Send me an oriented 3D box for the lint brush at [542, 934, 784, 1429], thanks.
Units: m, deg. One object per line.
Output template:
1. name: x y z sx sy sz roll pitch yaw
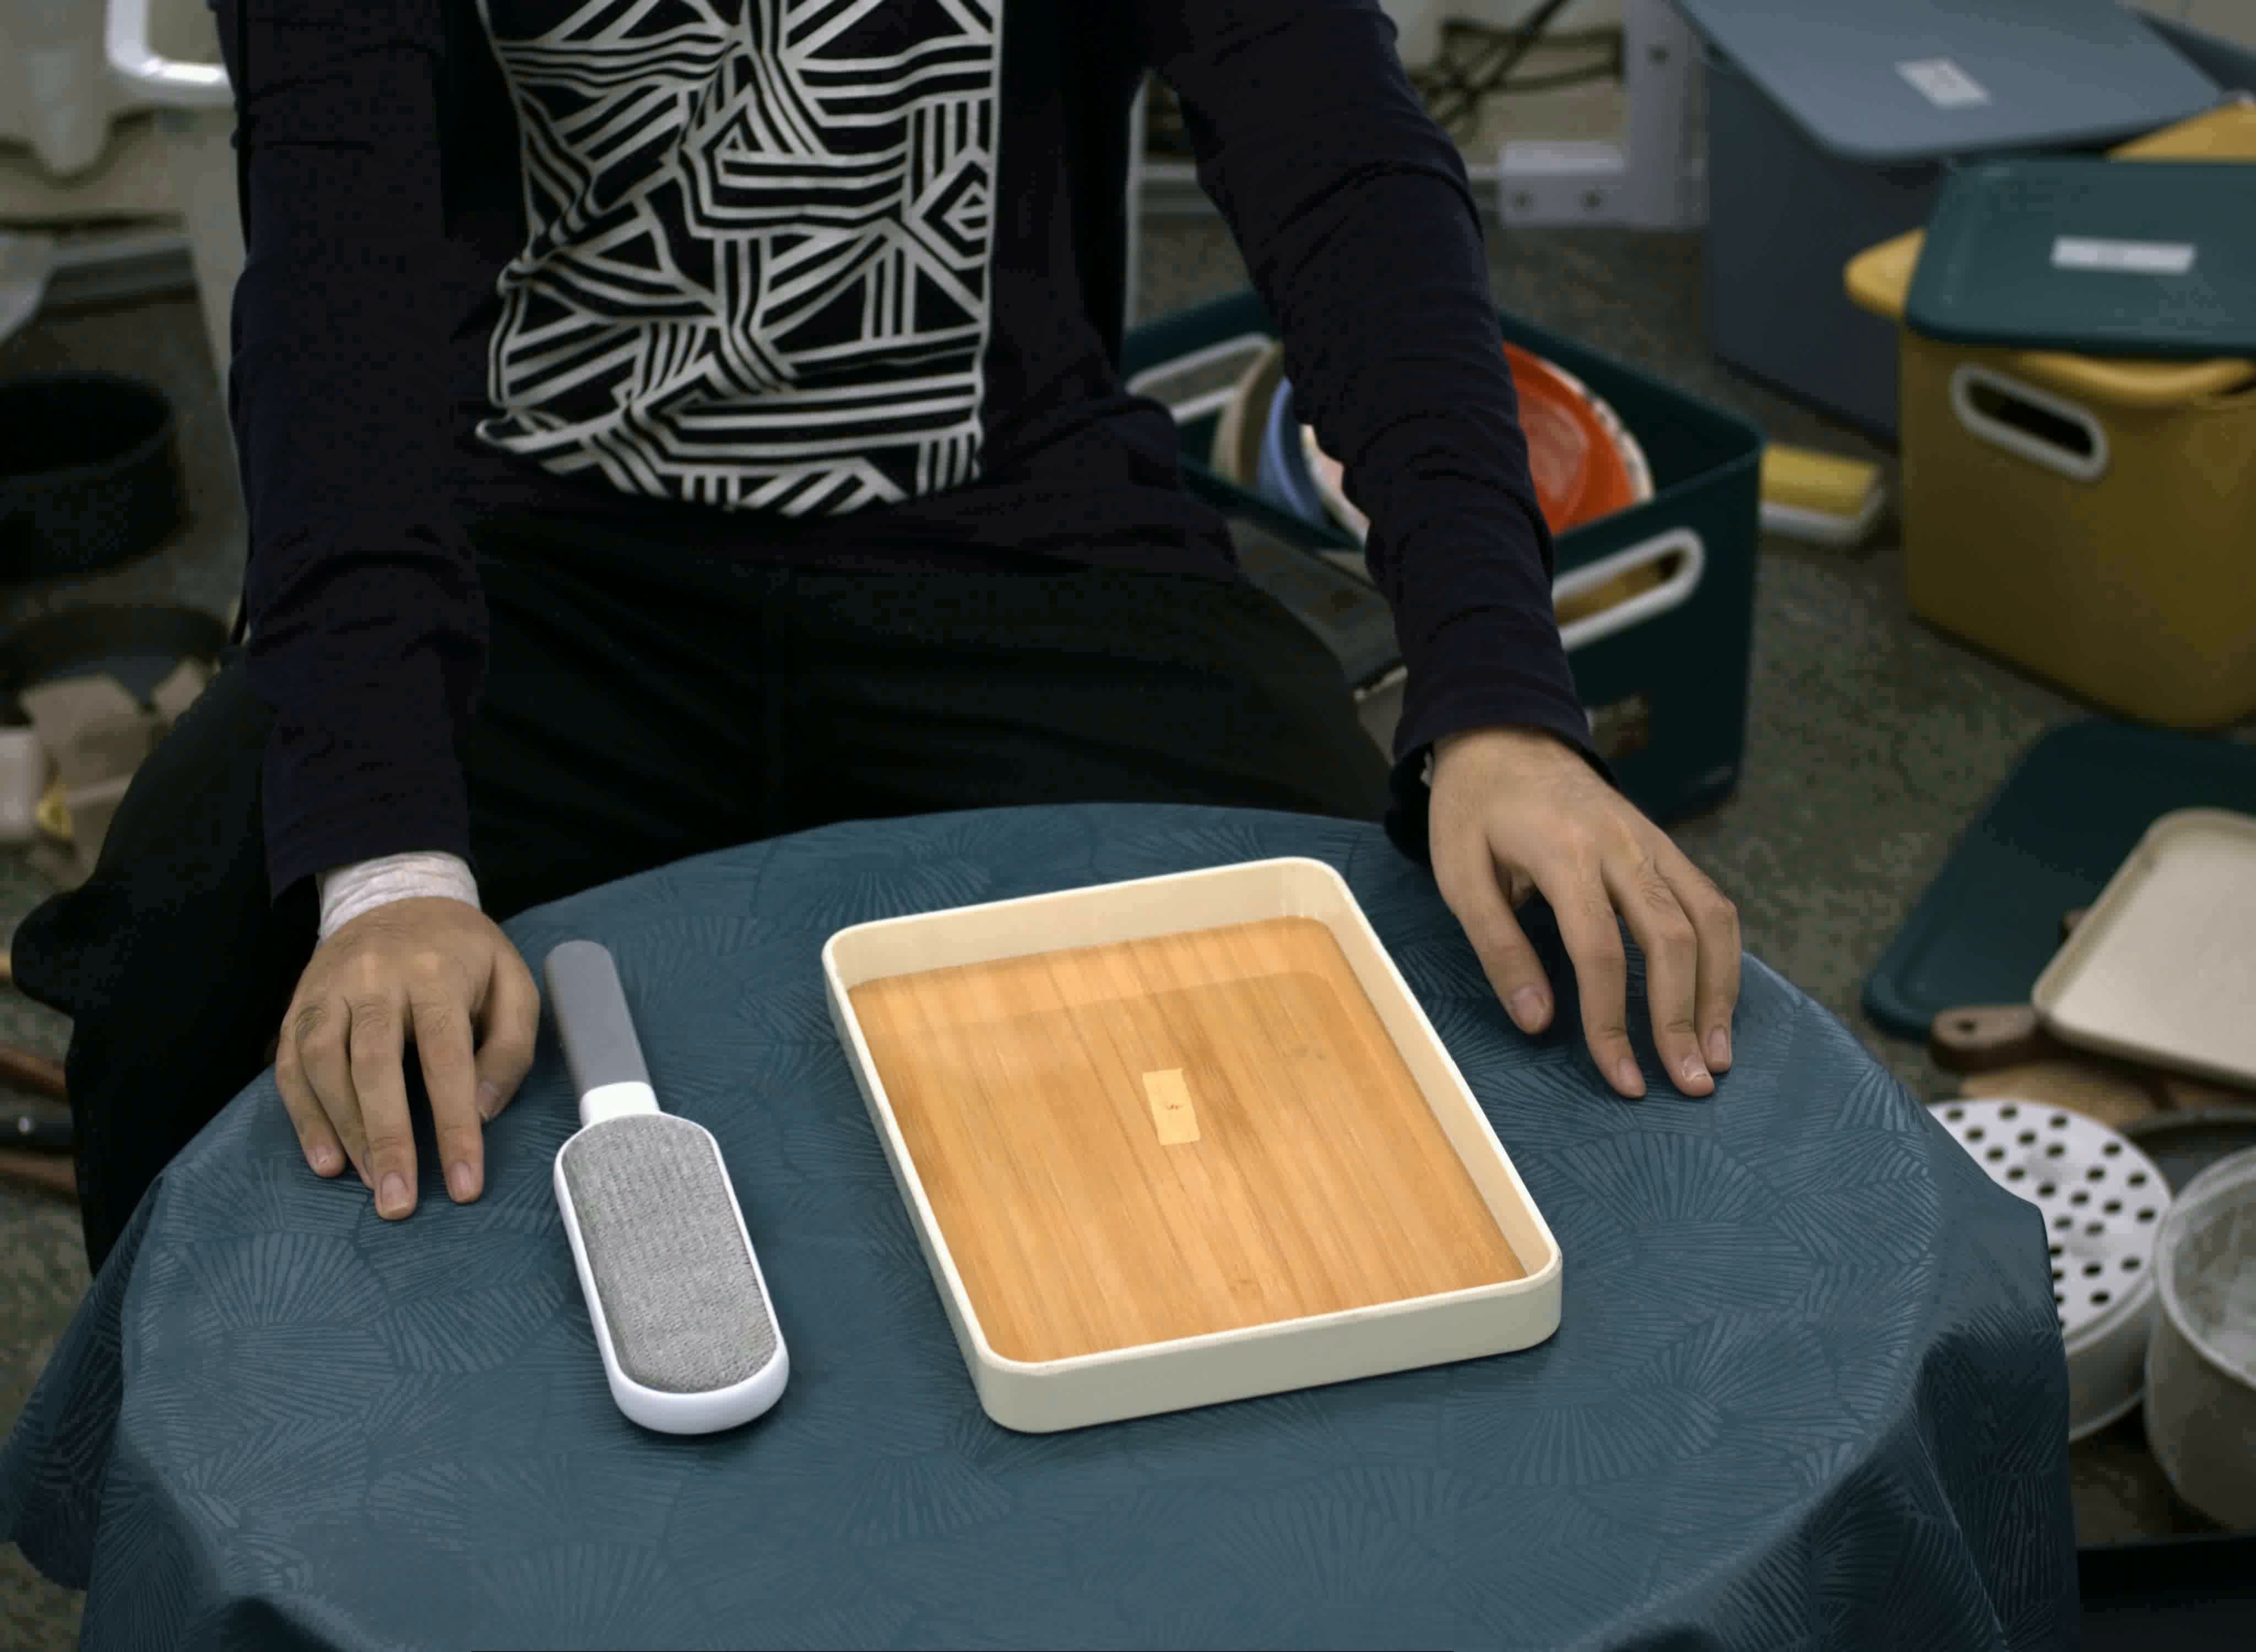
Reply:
1. lint brush: -0.162 0.113 1.865 0.060 0.021 0.312 -13 28 -8

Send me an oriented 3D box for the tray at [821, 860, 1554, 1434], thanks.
1. tray: 0.014 0.101 1.873 0.191 0.027 0.303 -8 27 -10
